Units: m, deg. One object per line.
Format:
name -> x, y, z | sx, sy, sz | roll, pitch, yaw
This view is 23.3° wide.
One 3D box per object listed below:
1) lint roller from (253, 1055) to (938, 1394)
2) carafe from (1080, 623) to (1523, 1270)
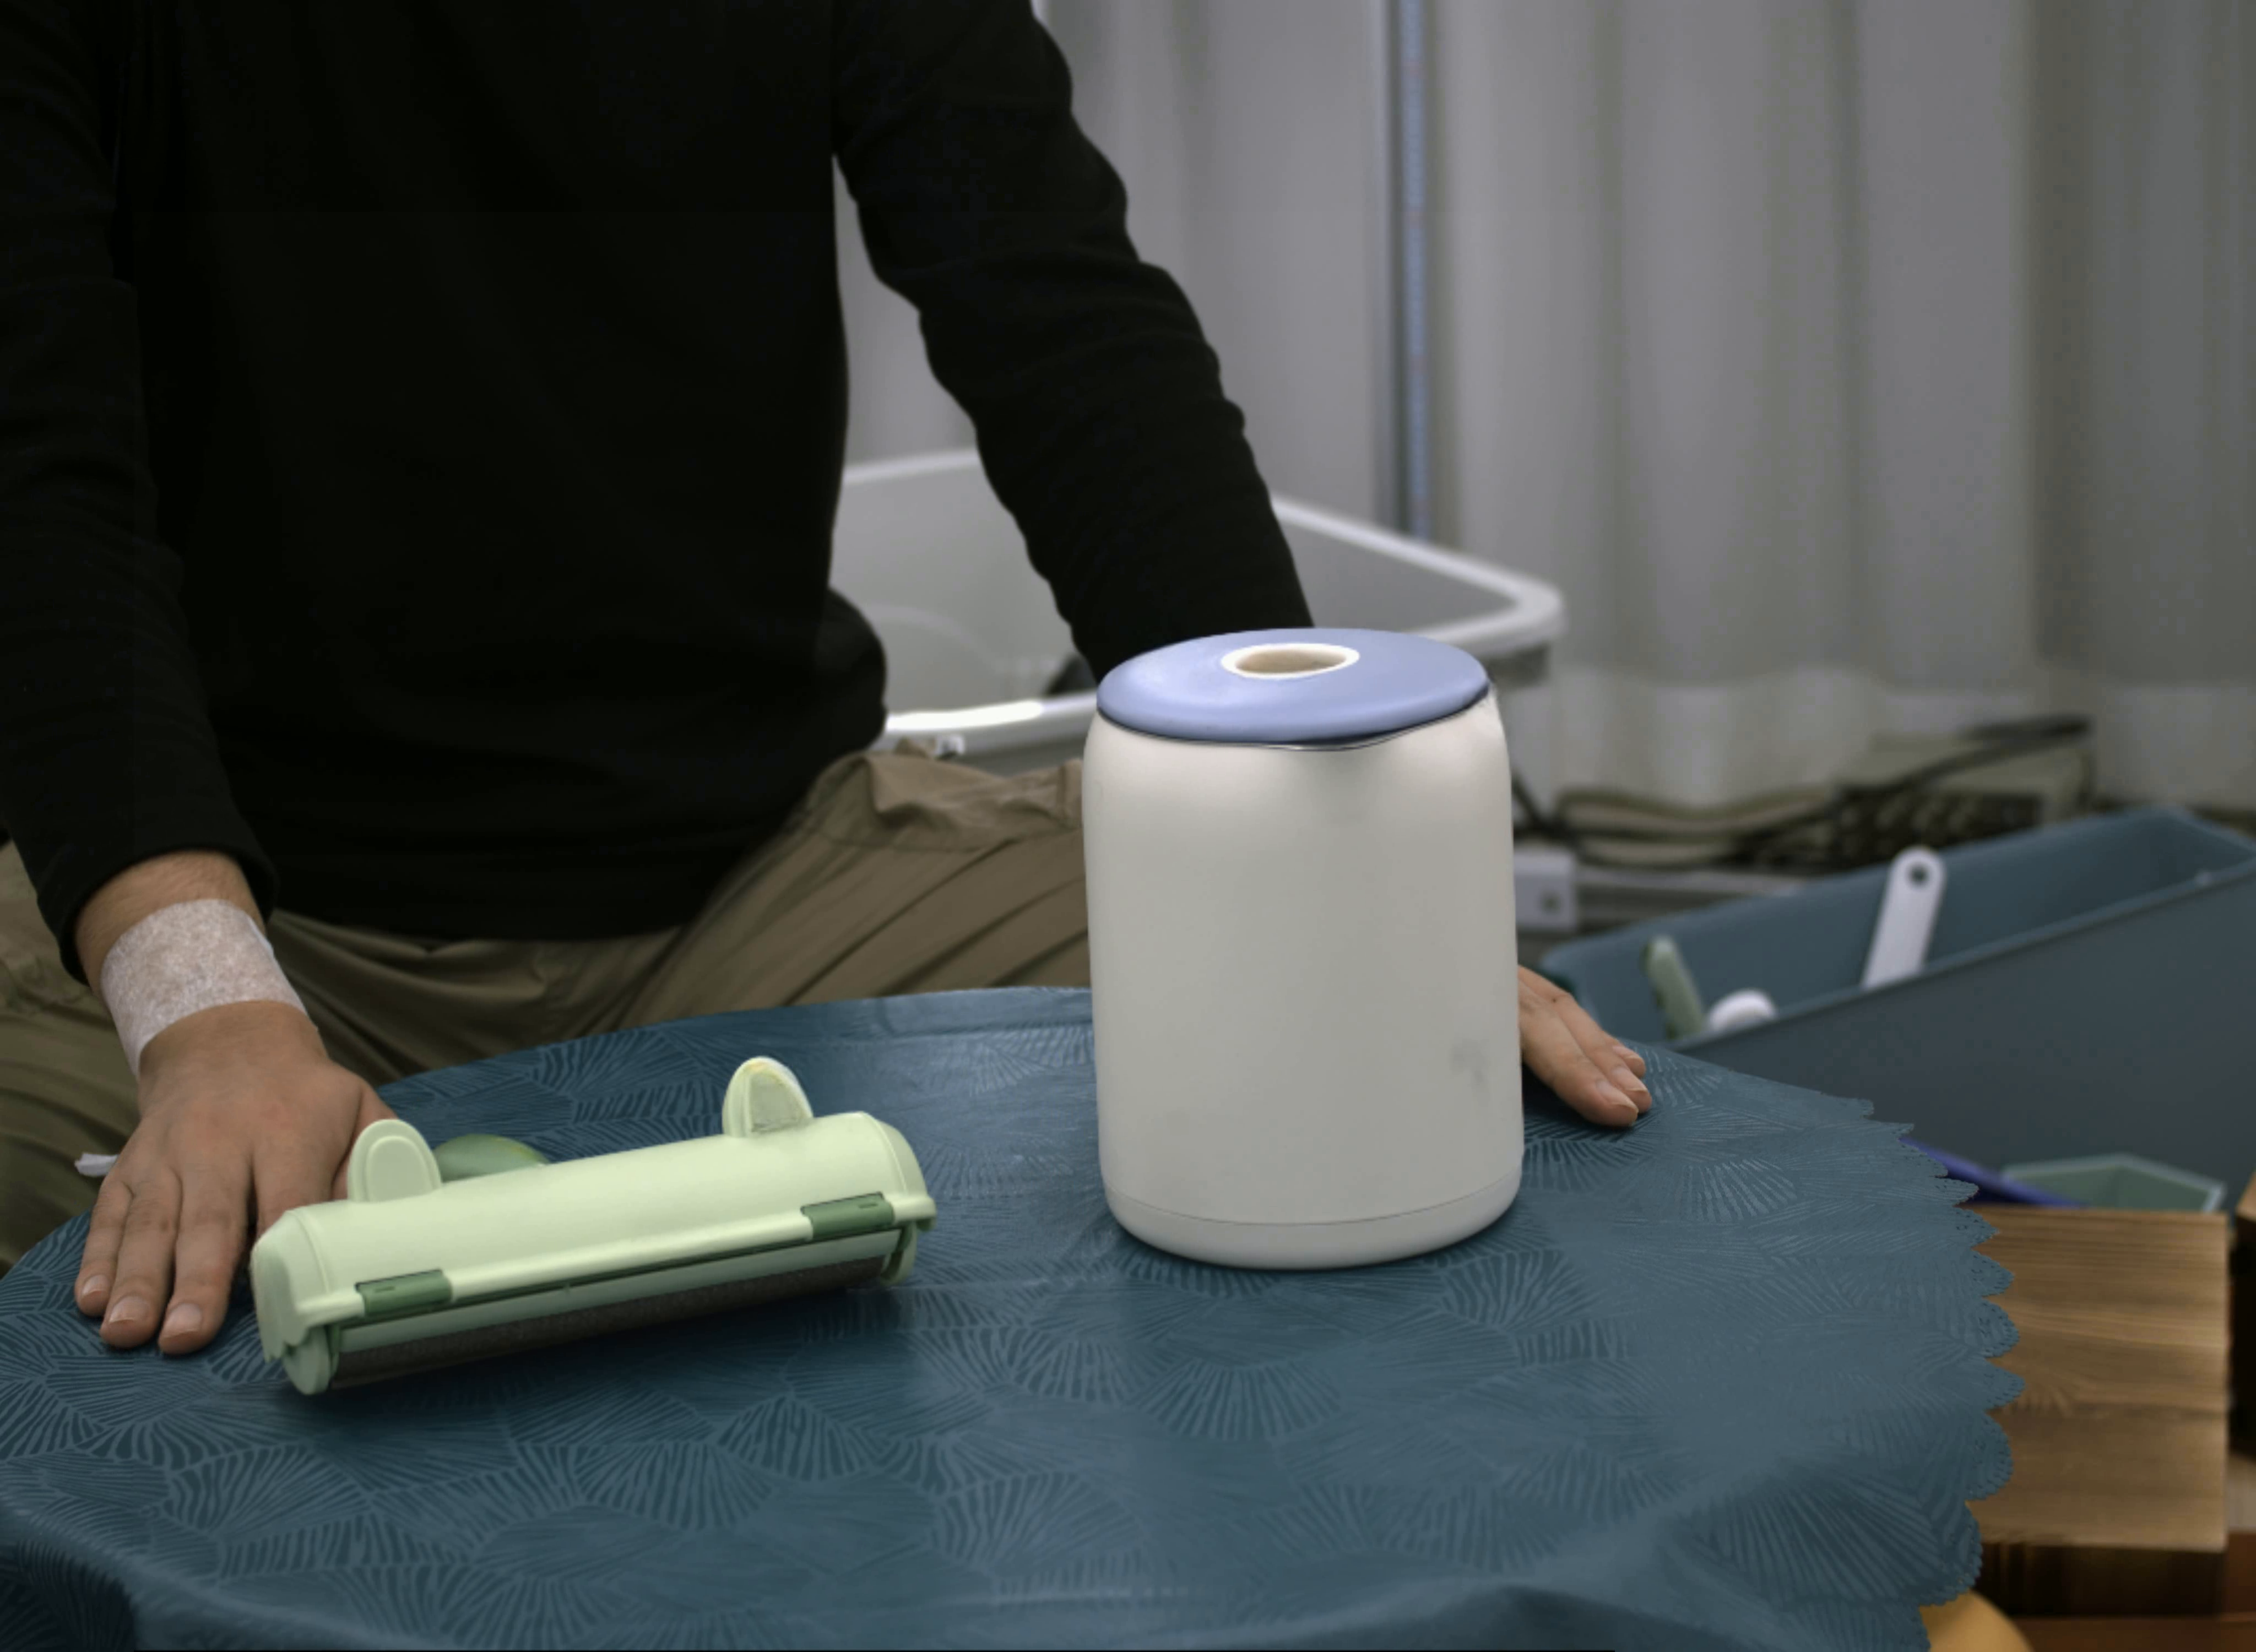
lint roller -> -0.178, 0.104, 1.643 | 0.197, 0.082, 0.185 | -8, 18, -23
carafe -> 0.047, 0.030, 1.692 | 0.131, 0.182, 0.192 | -5, 12, -13
